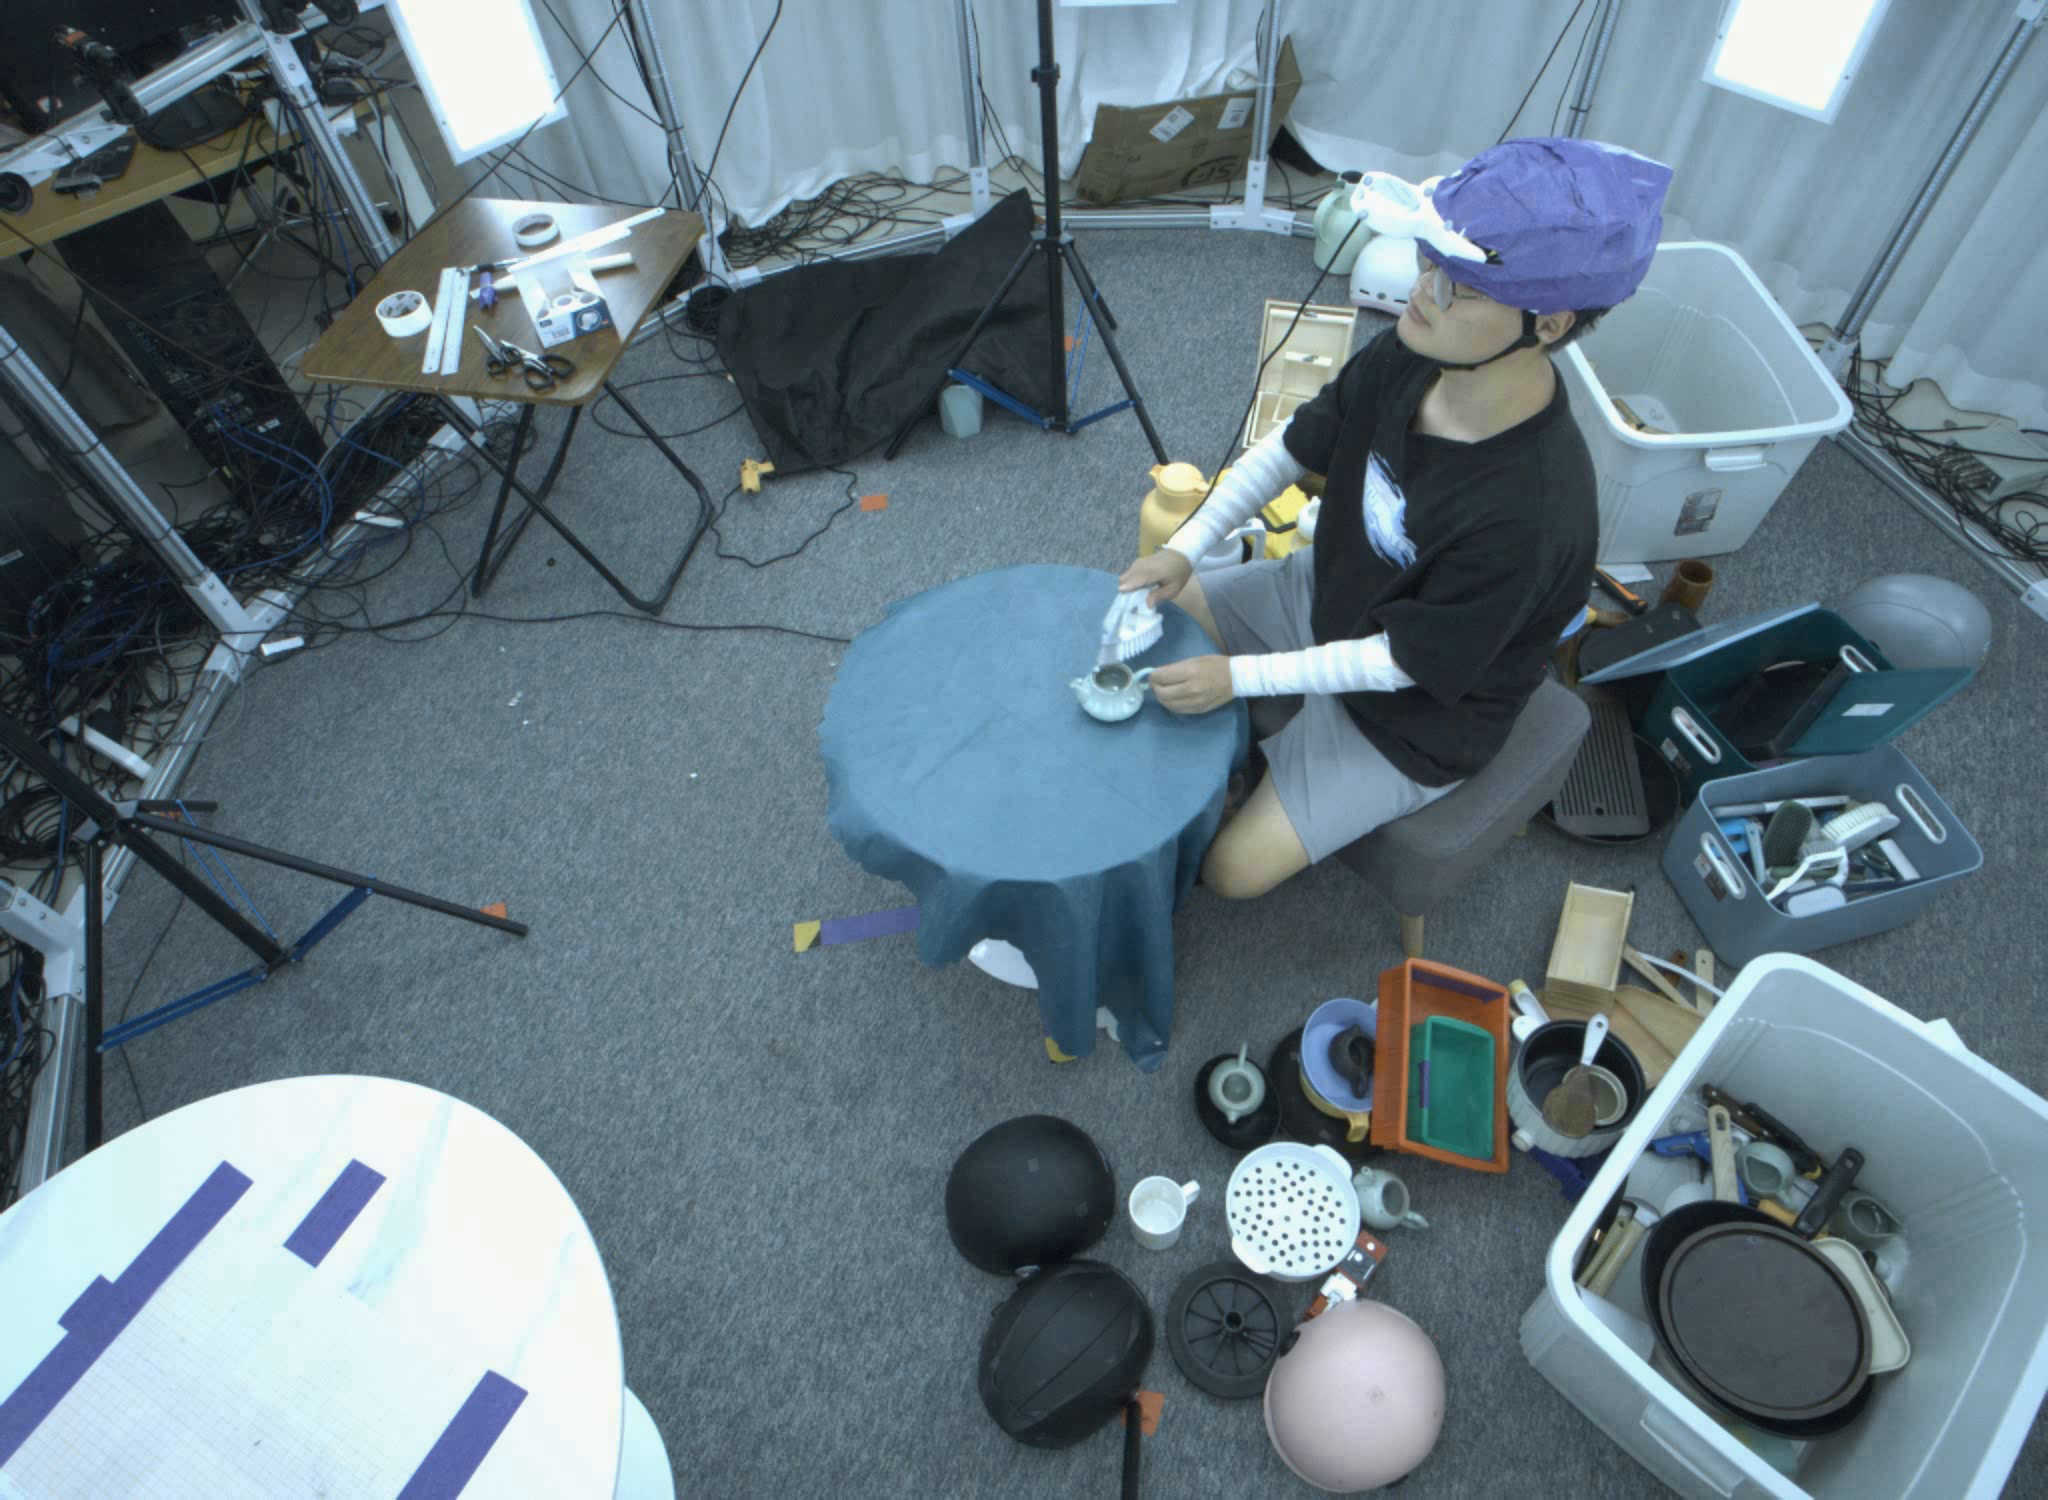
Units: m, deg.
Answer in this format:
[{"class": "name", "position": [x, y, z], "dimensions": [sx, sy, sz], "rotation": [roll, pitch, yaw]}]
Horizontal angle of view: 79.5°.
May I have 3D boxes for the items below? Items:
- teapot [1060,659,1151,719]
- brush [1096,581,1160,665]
[{"class": "teapot", "position": [0.120, -0.094, 1.804], "dimensions": [0.137, 0.062, 0.094], "rotation": [-13, 53, -7]}, {"class": "brush", "position": [0.142, -0.191, 1.800], "dimensions": [0.060, 0.095, 0.177], "rotation": [6, 26, 27]}]
